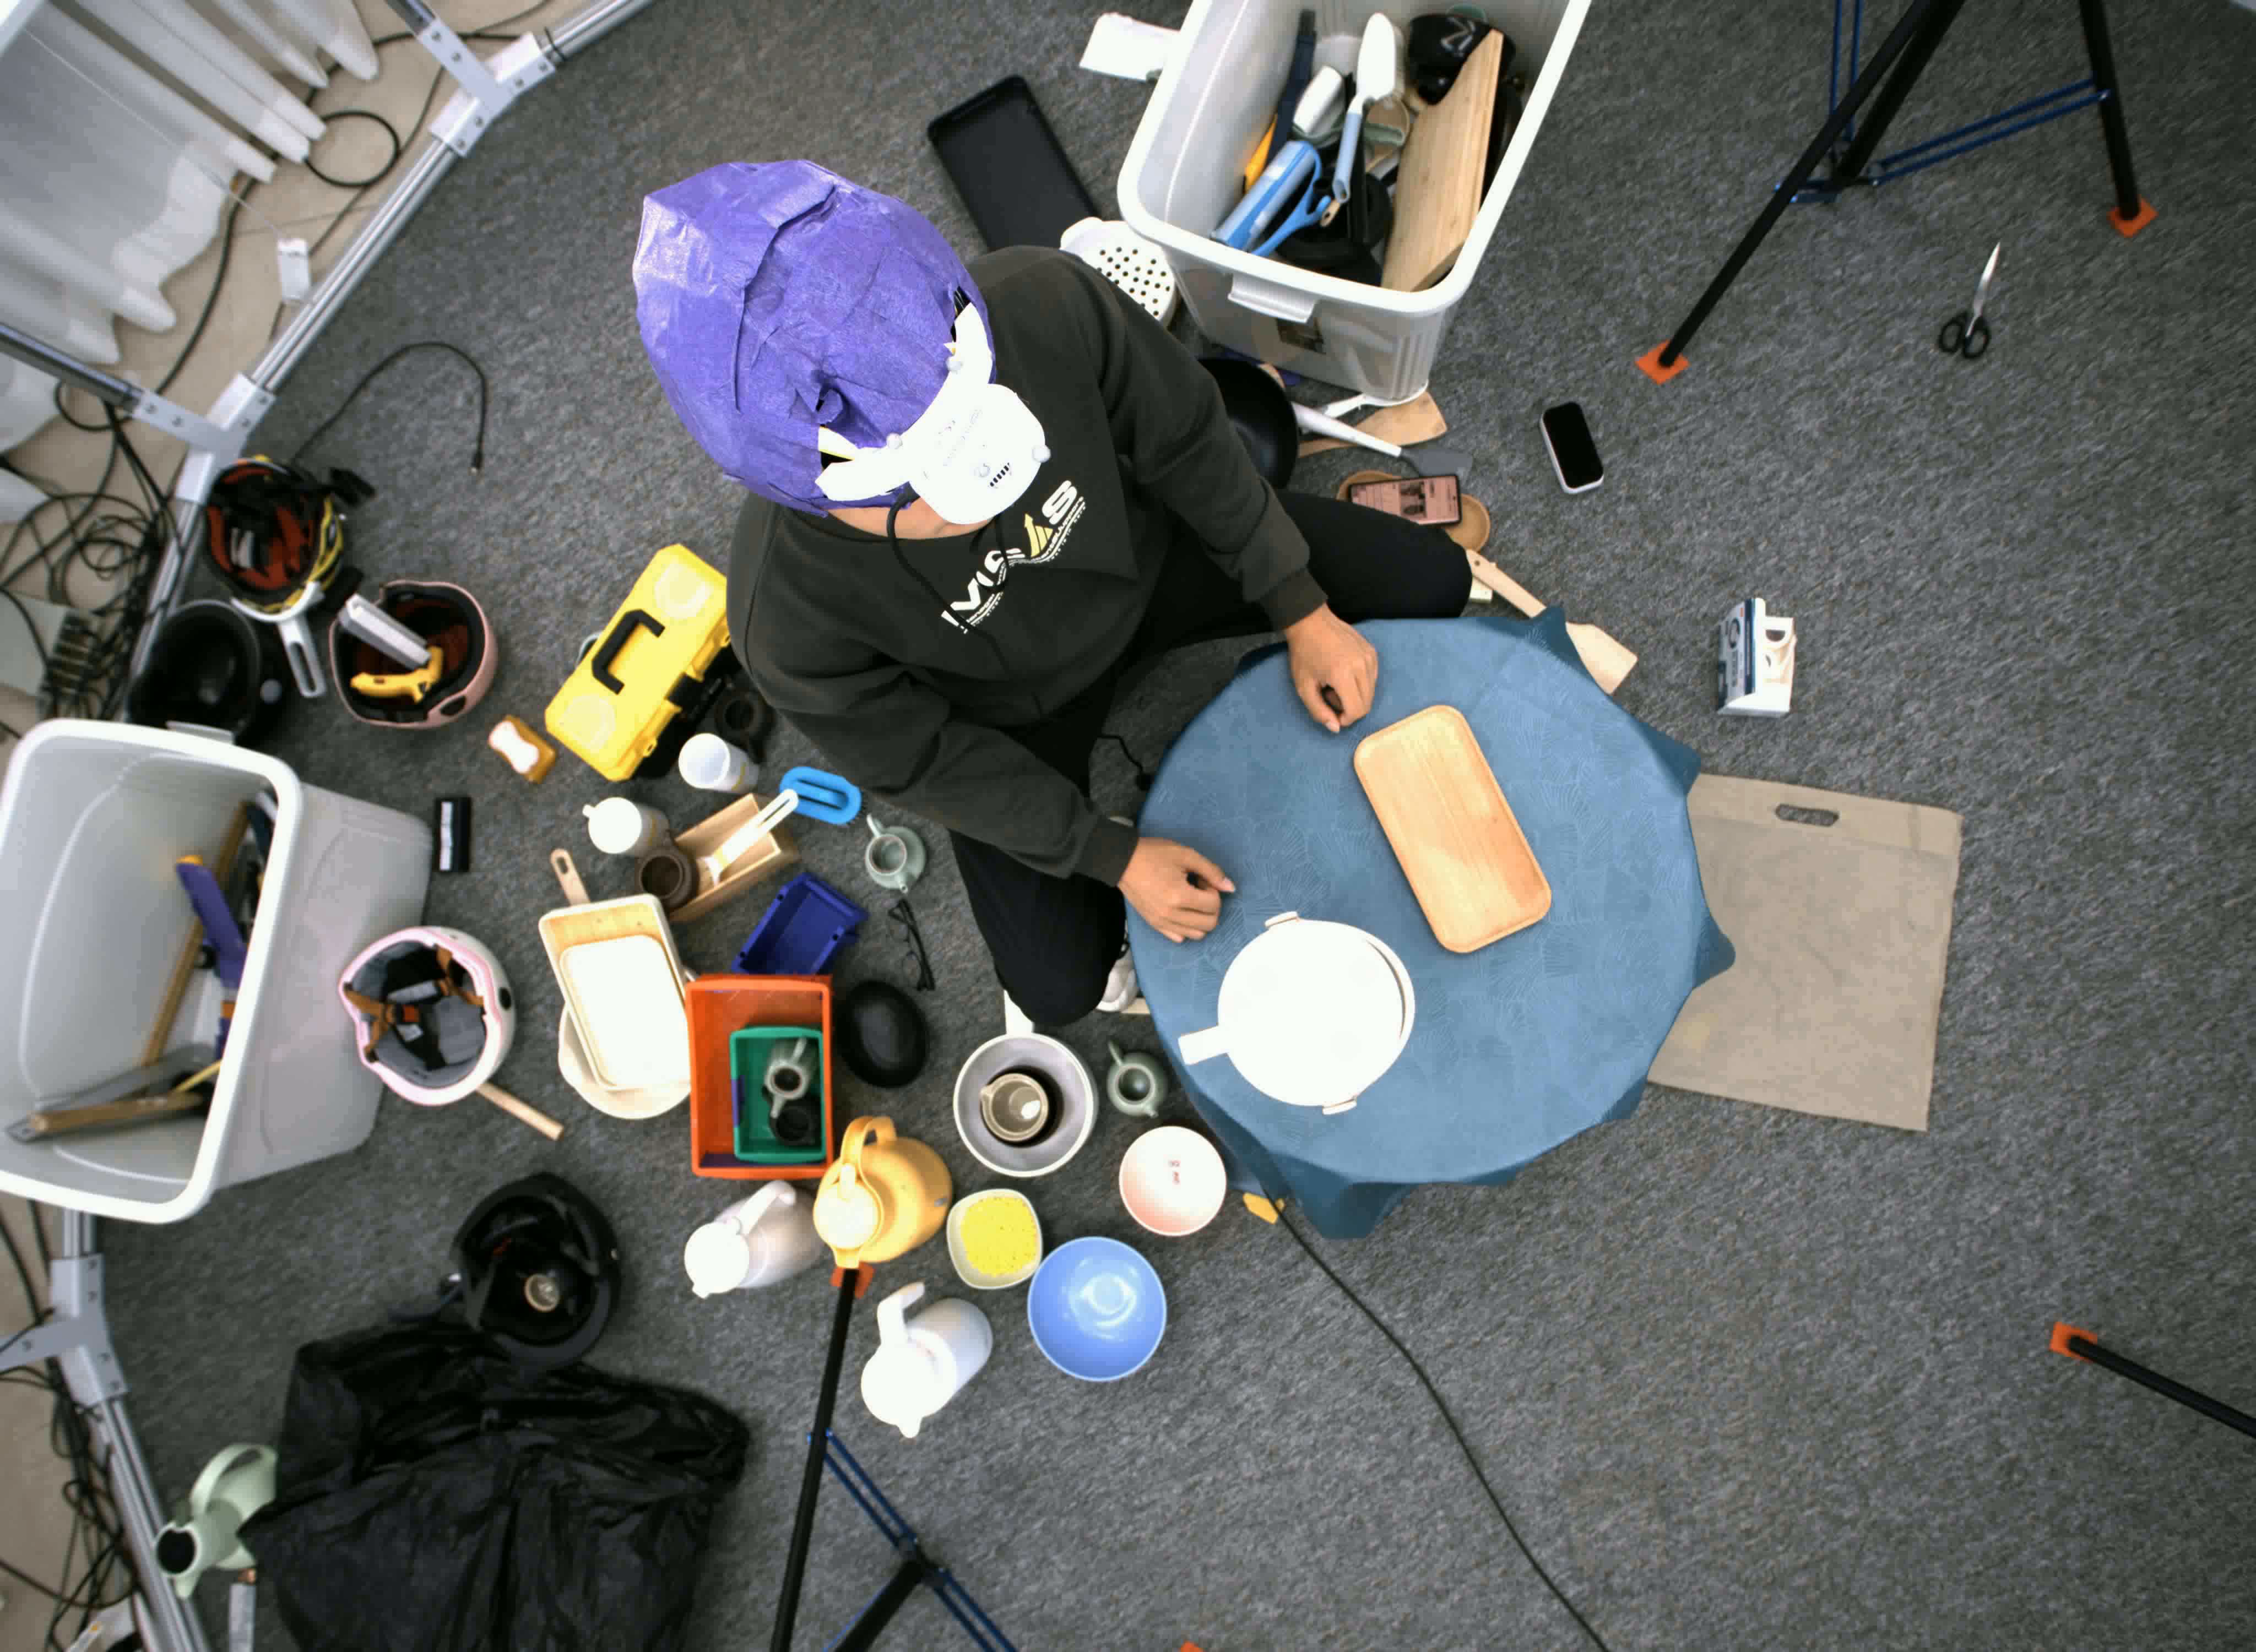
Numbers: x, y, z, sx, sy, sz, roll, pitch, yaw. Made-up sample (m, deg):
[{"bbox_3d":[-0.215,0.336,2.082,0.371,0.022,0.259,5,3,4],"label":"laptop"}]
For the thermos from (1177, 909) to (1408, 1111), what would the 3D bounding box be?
[{"bbox_3d":[0.155,0.169,1.274,0.208,0.406,0.174,-19,82,7],"label":"thermos"}]

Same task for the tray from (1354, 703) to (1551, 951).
[{"bbox_3d":[0.339,-0.001,1.443,0.131,0.023,0.249,-24,82,6],"label":"tray"}]
